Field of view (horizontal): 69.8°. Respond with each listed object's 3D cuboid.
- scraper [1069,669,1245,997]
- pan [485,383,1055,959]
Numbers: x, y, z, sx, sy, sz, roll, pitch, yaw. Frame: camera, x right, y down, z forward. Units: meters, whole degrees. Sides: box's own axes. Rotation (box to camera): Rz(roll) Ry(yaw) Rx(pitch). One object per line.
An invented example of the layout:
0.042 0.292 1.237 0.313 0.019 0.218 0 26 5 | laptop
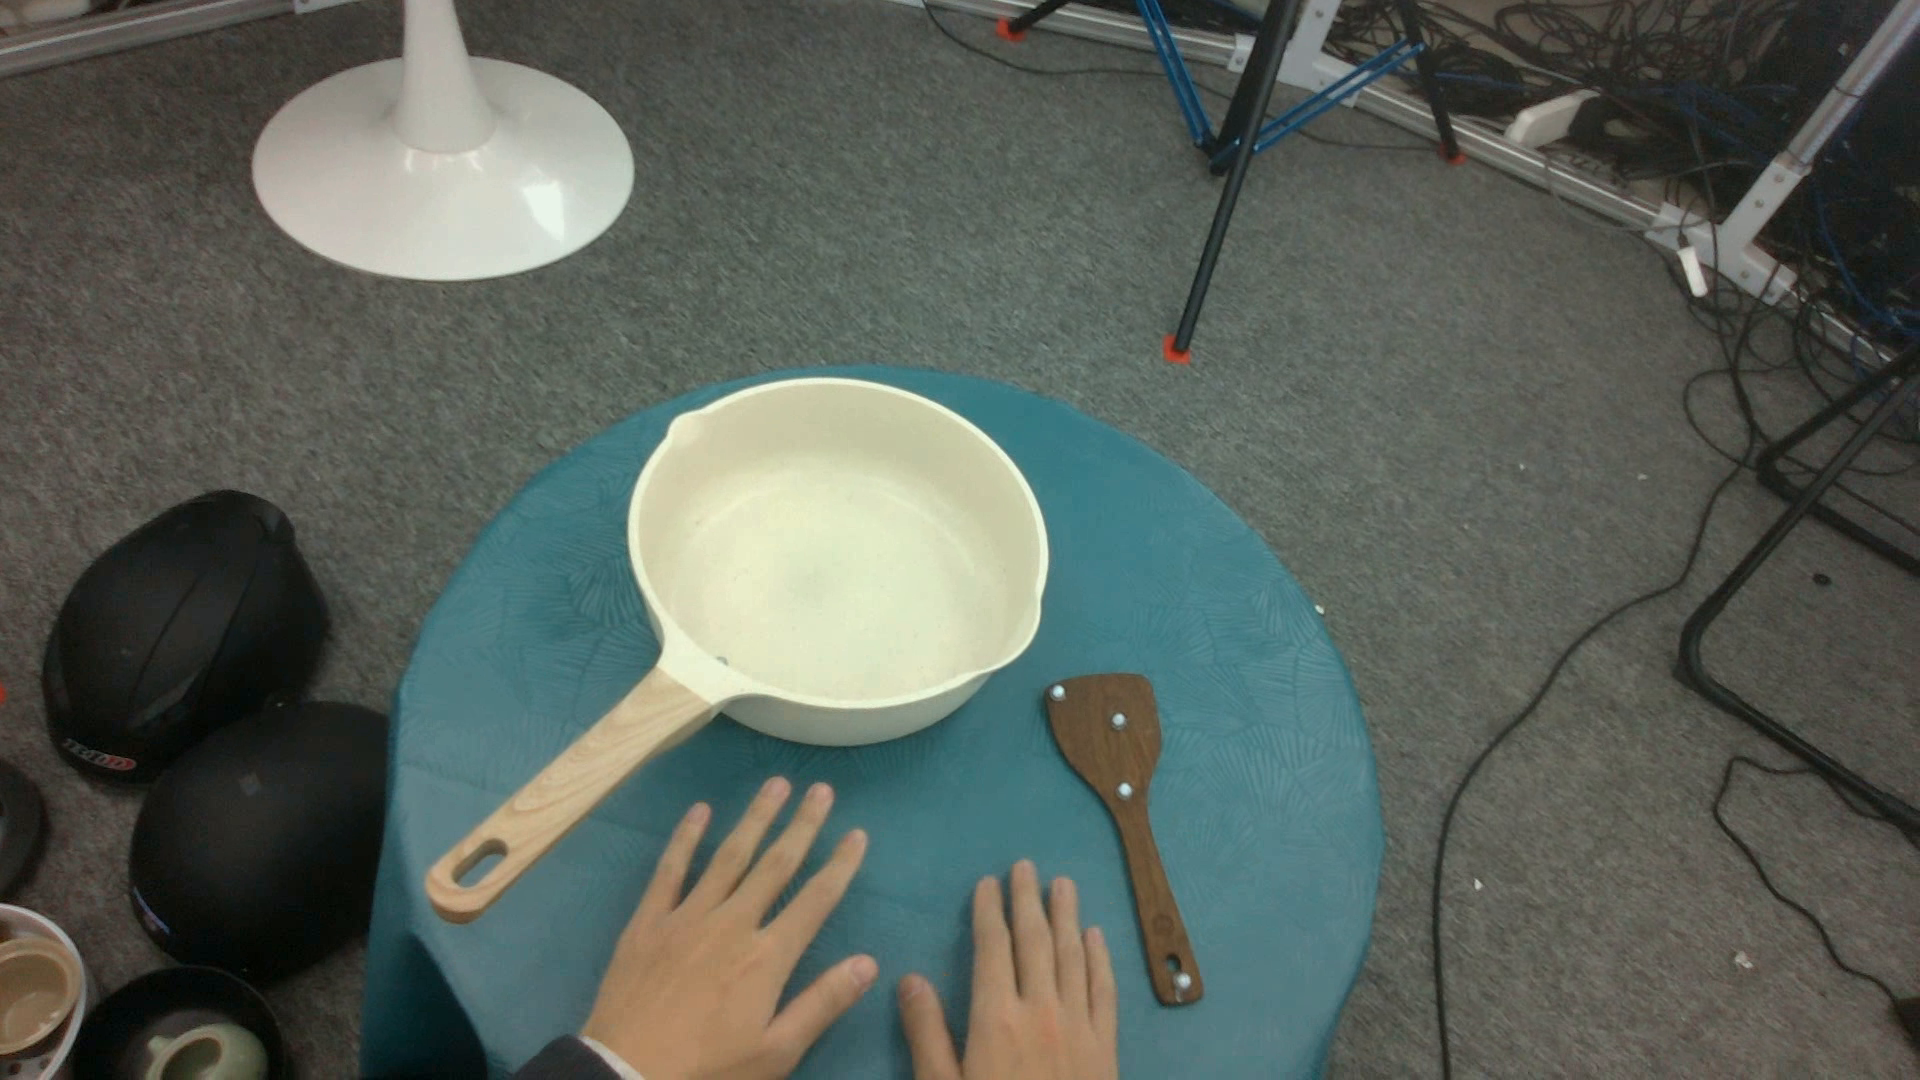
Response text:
0.125 0.170 0.828 0.076 0.011 0.212 -6 54 -13 | scraper
-0.116 0.076 0.806 0.263 0.101 0.437 30 53 12 | pan
